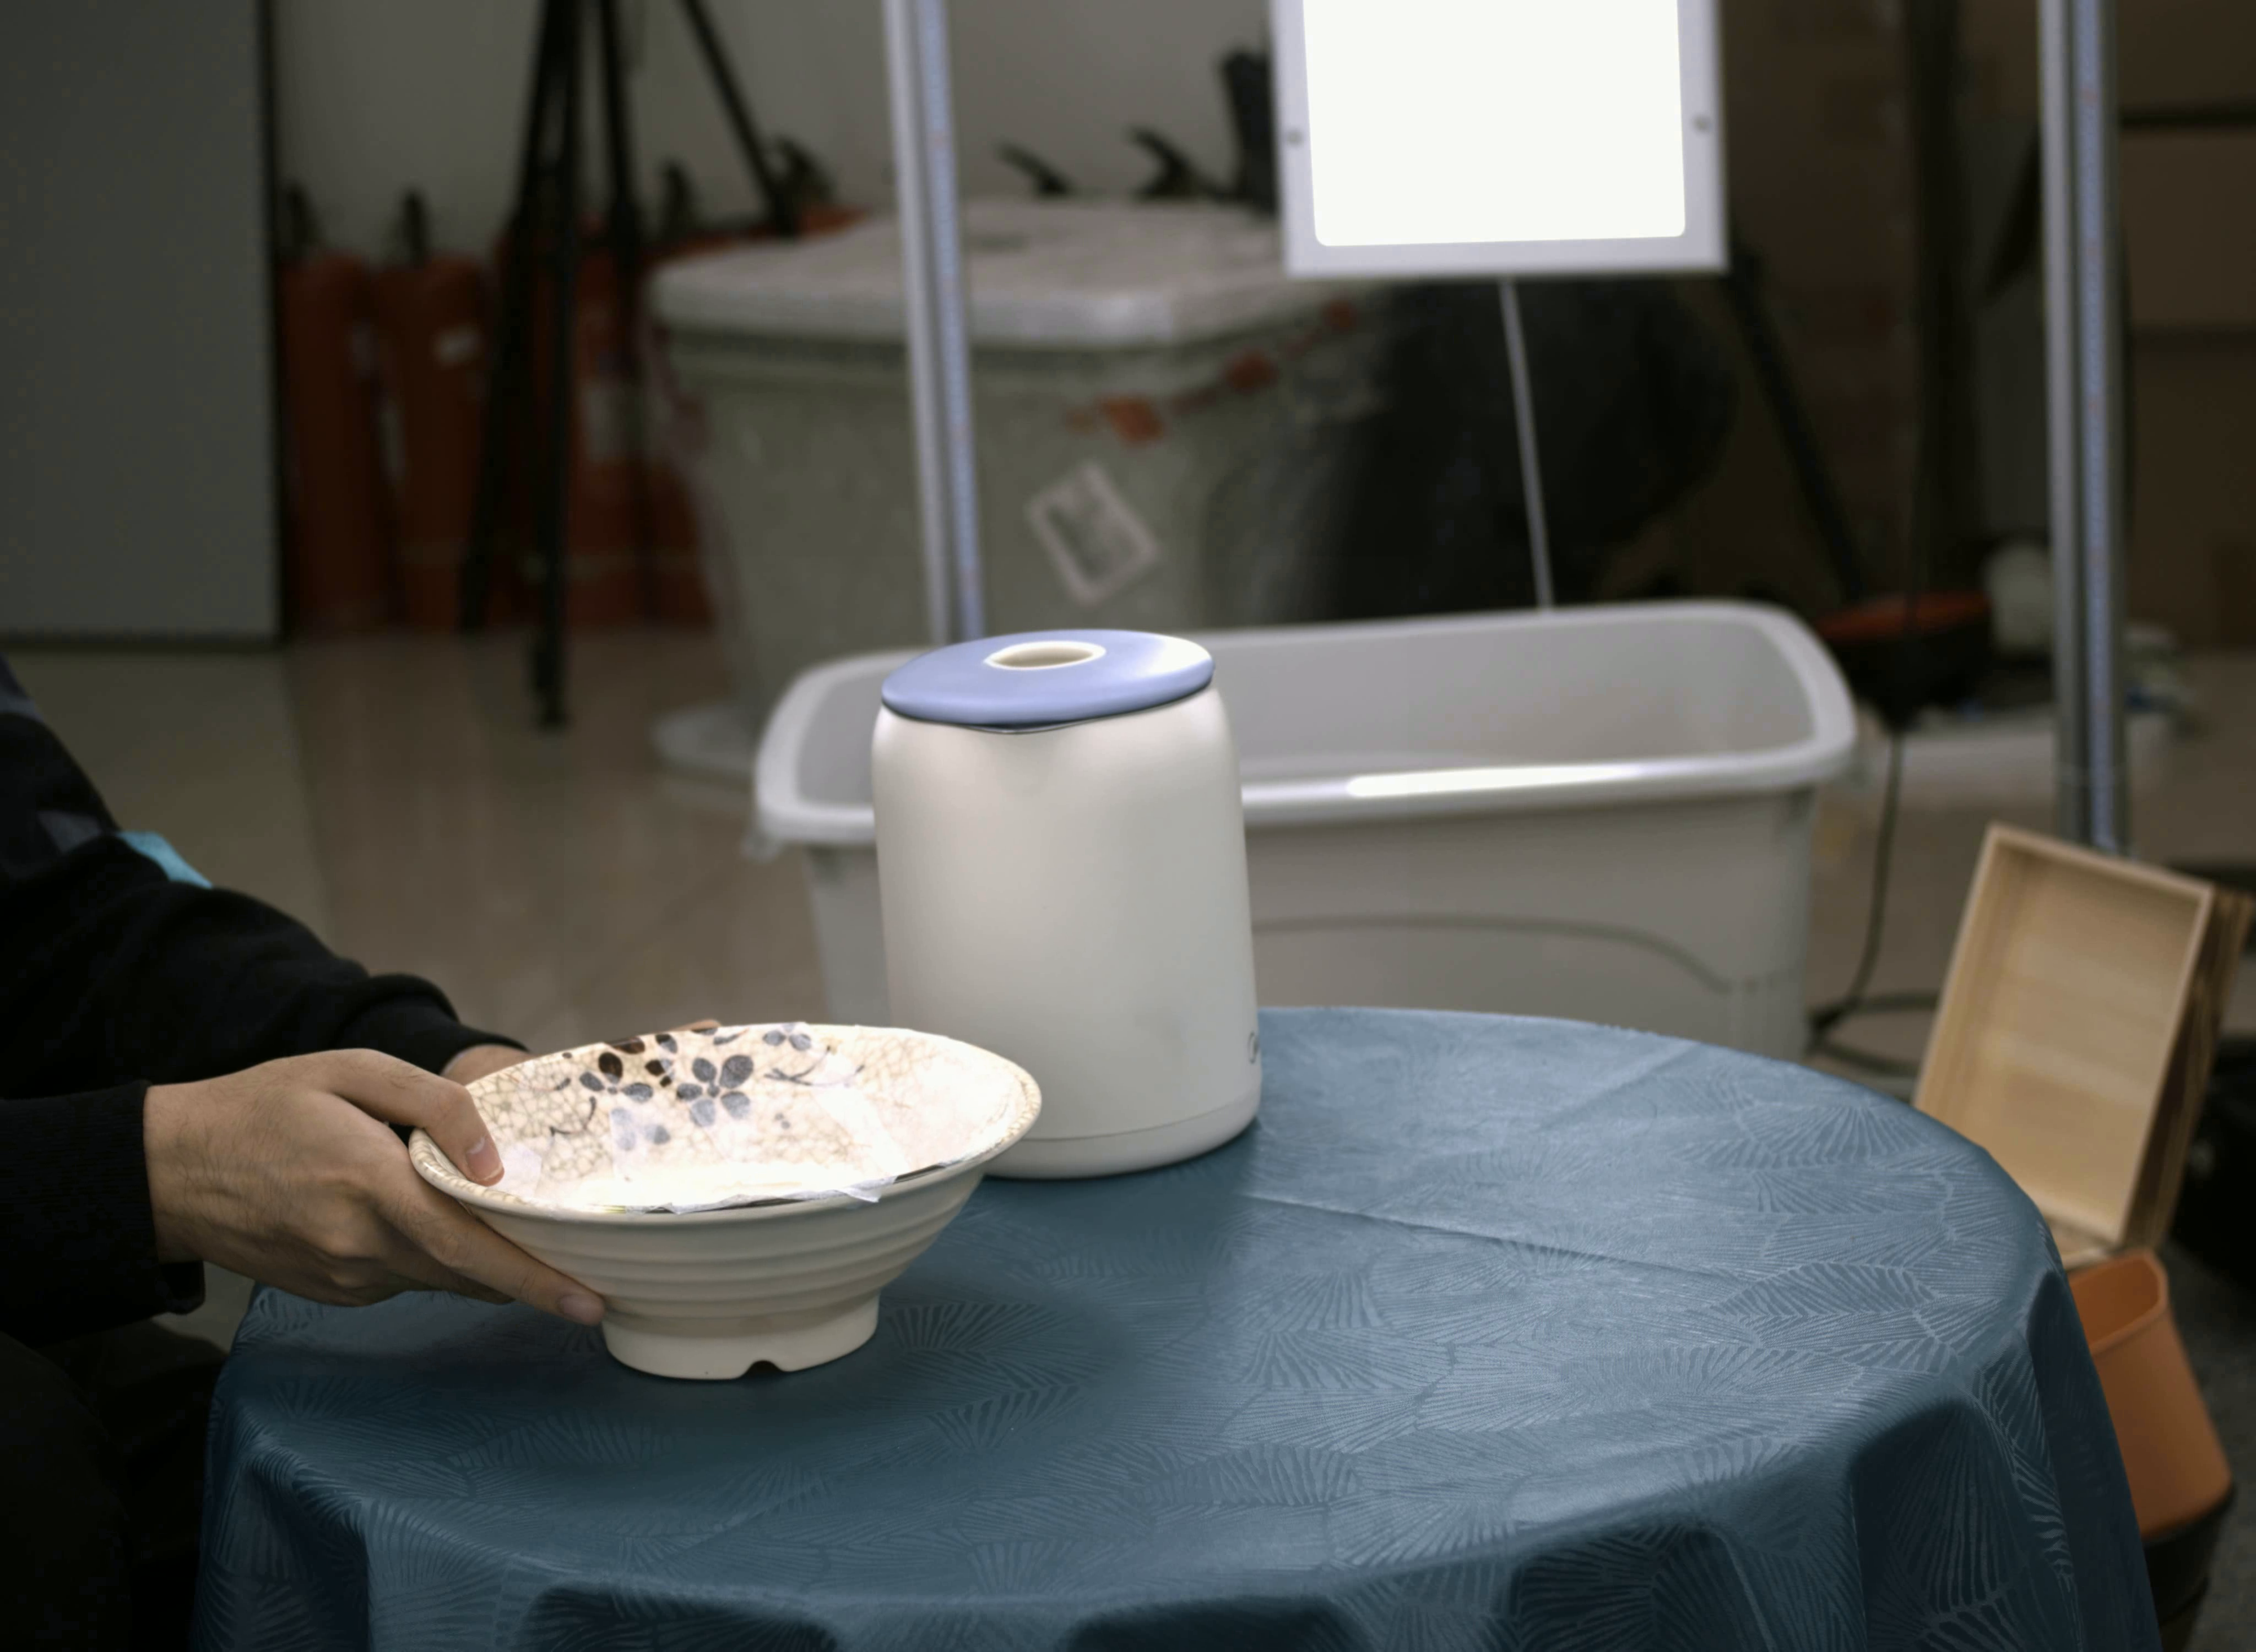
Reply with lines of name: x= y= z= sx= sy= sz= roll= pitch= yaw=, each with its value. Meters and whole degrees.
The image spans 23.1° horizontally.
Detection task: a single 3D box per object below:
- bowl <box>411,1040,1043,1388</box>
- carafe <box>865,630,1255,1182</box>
bowl: x=-0.124 y=0.130 z=1.769 sx=0.203 sy=0.078 sz=0.204 roll=-6 pitch=12 yaw=0
carafe: x=-0.021 y=0.022 z=1.972 sx=0.133 sy=0.183 sz=0.189 roll=-2 pitch=12 yaw=7
